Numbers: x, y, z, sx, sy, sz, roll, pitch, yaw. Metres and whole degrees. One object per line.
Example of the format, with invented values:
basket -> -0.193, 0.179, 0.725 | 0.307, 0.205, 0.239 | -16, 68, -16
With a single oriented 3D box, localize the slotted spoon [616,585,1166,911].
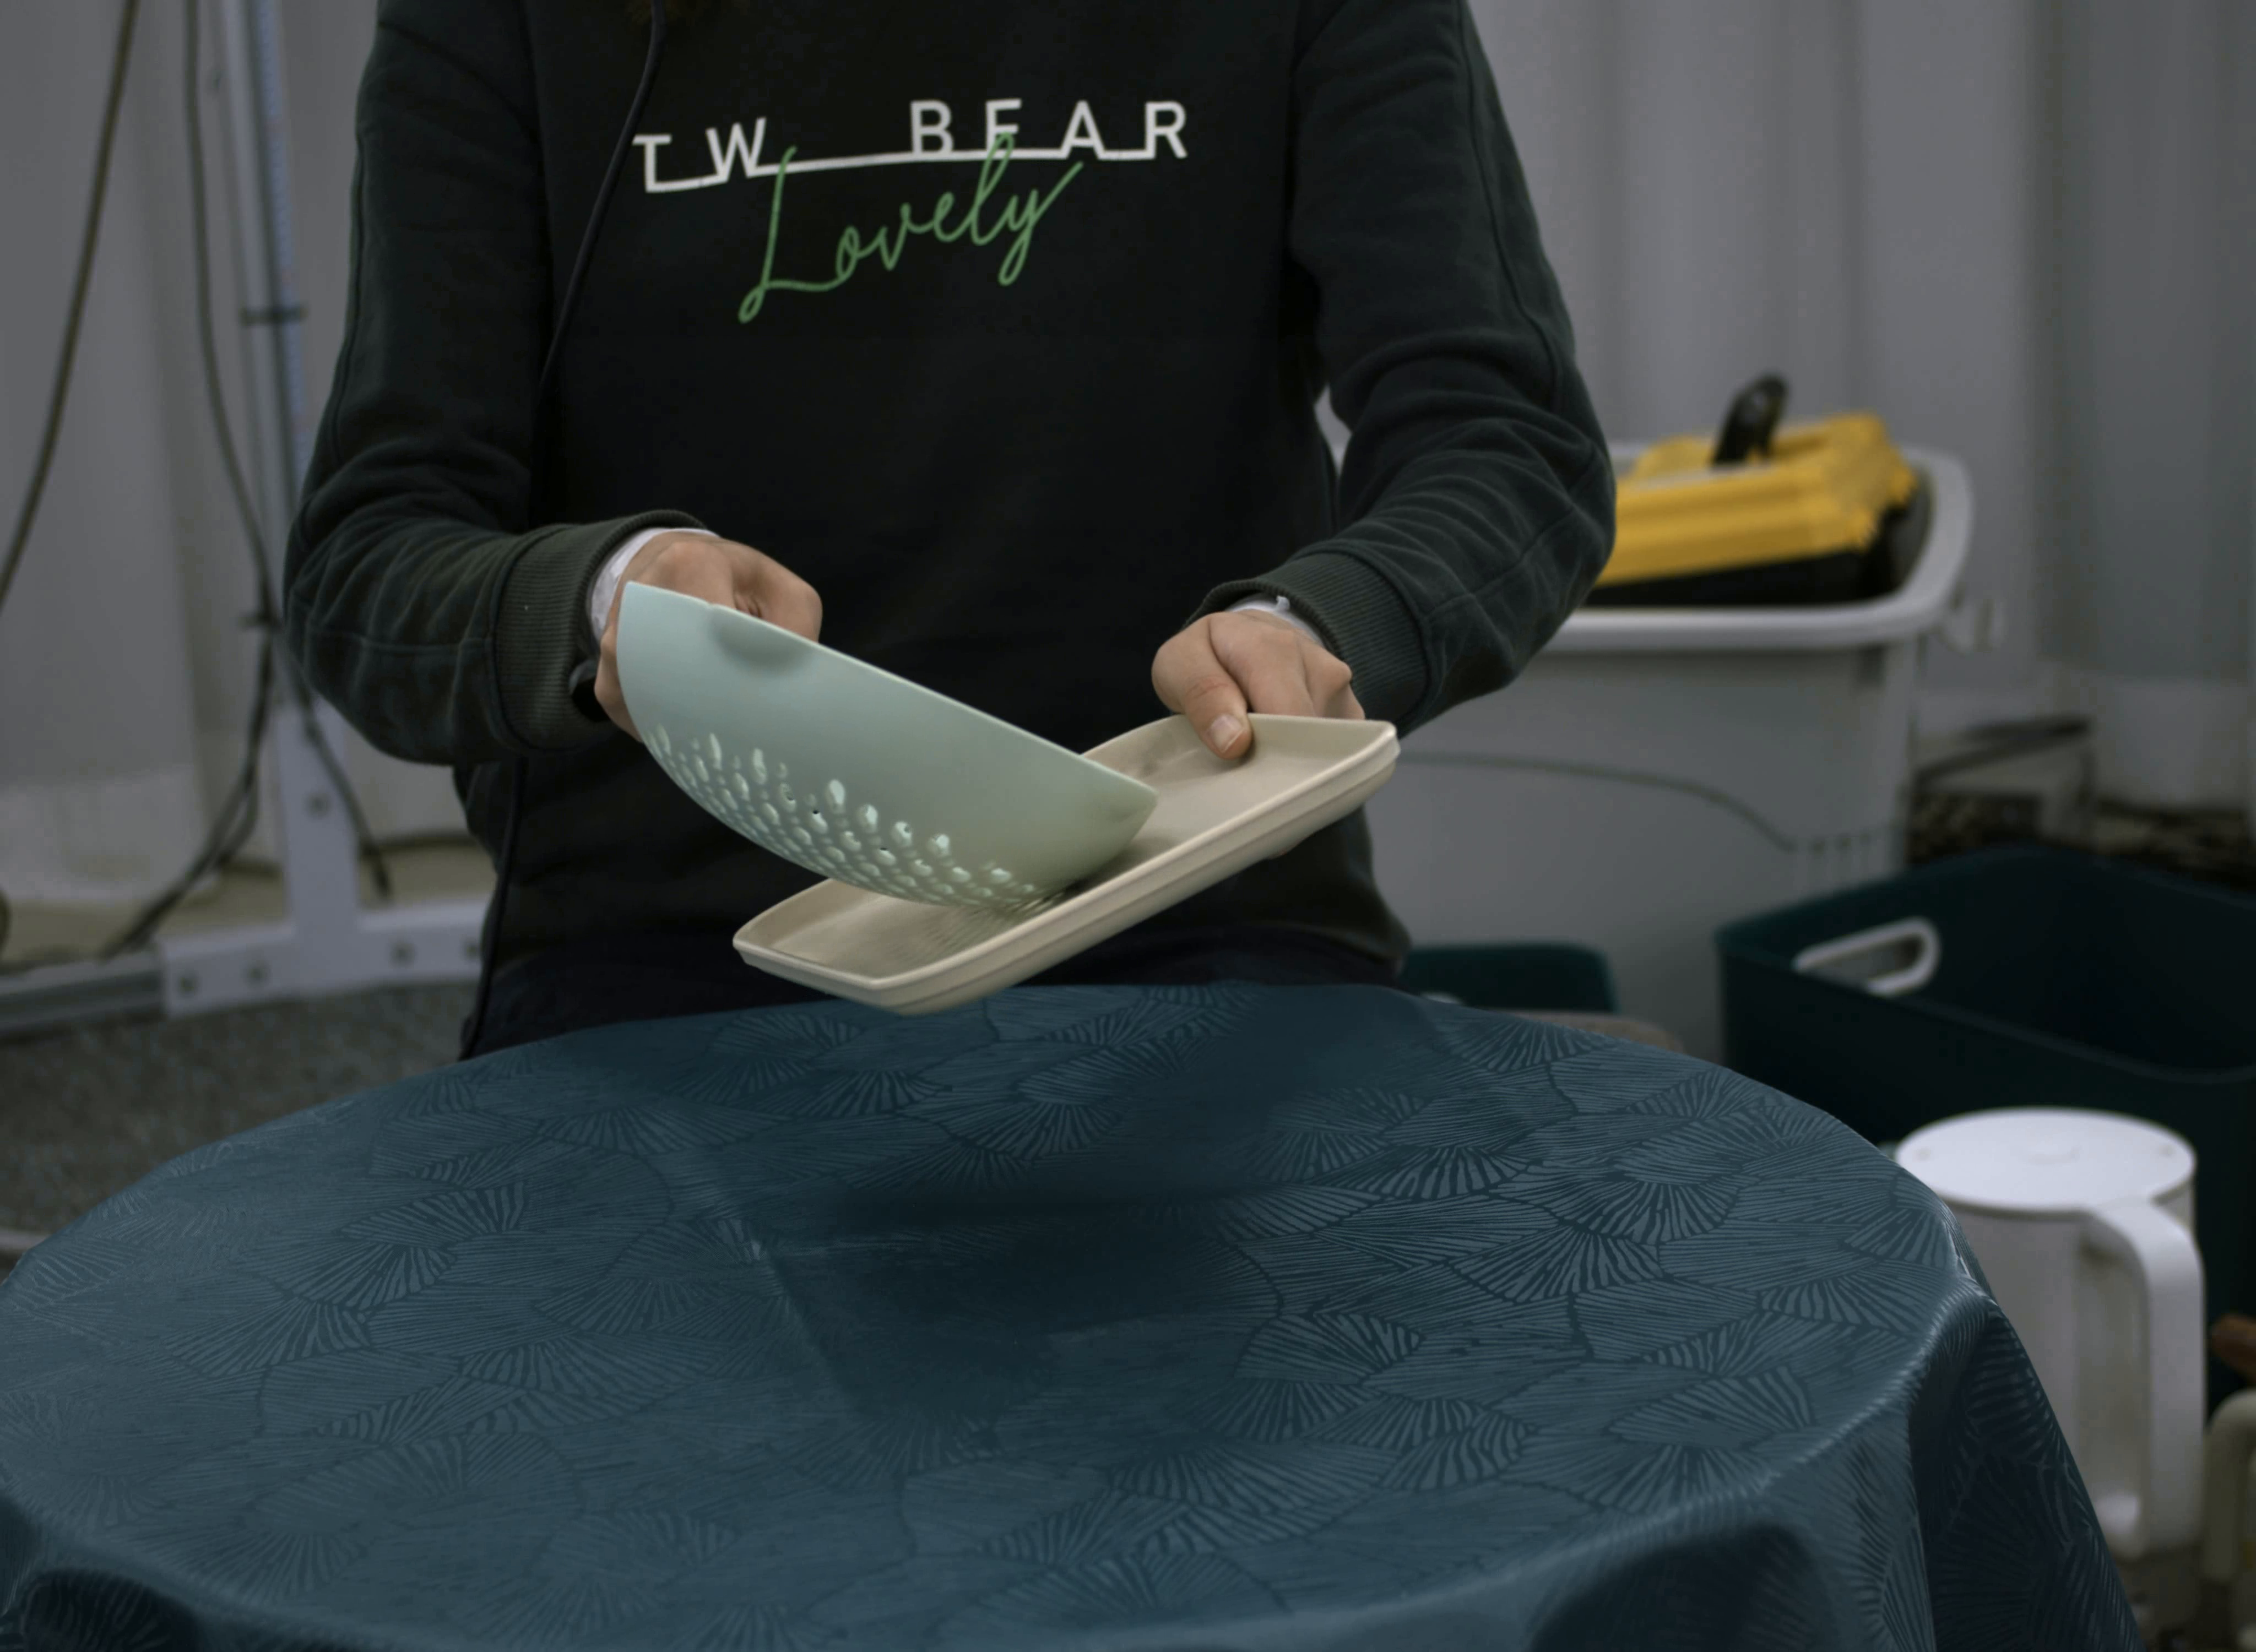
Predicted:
slotted spoon -> -0.101, -0.031, 1.691 | 0.168, 0.075, 0.361 | 24, 4, -16

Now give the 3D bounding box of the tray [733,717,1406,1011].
tray -> -0.020, 0.011, 1.623 | 0.171, 0.017, 0.240 | -26, 8, -14
